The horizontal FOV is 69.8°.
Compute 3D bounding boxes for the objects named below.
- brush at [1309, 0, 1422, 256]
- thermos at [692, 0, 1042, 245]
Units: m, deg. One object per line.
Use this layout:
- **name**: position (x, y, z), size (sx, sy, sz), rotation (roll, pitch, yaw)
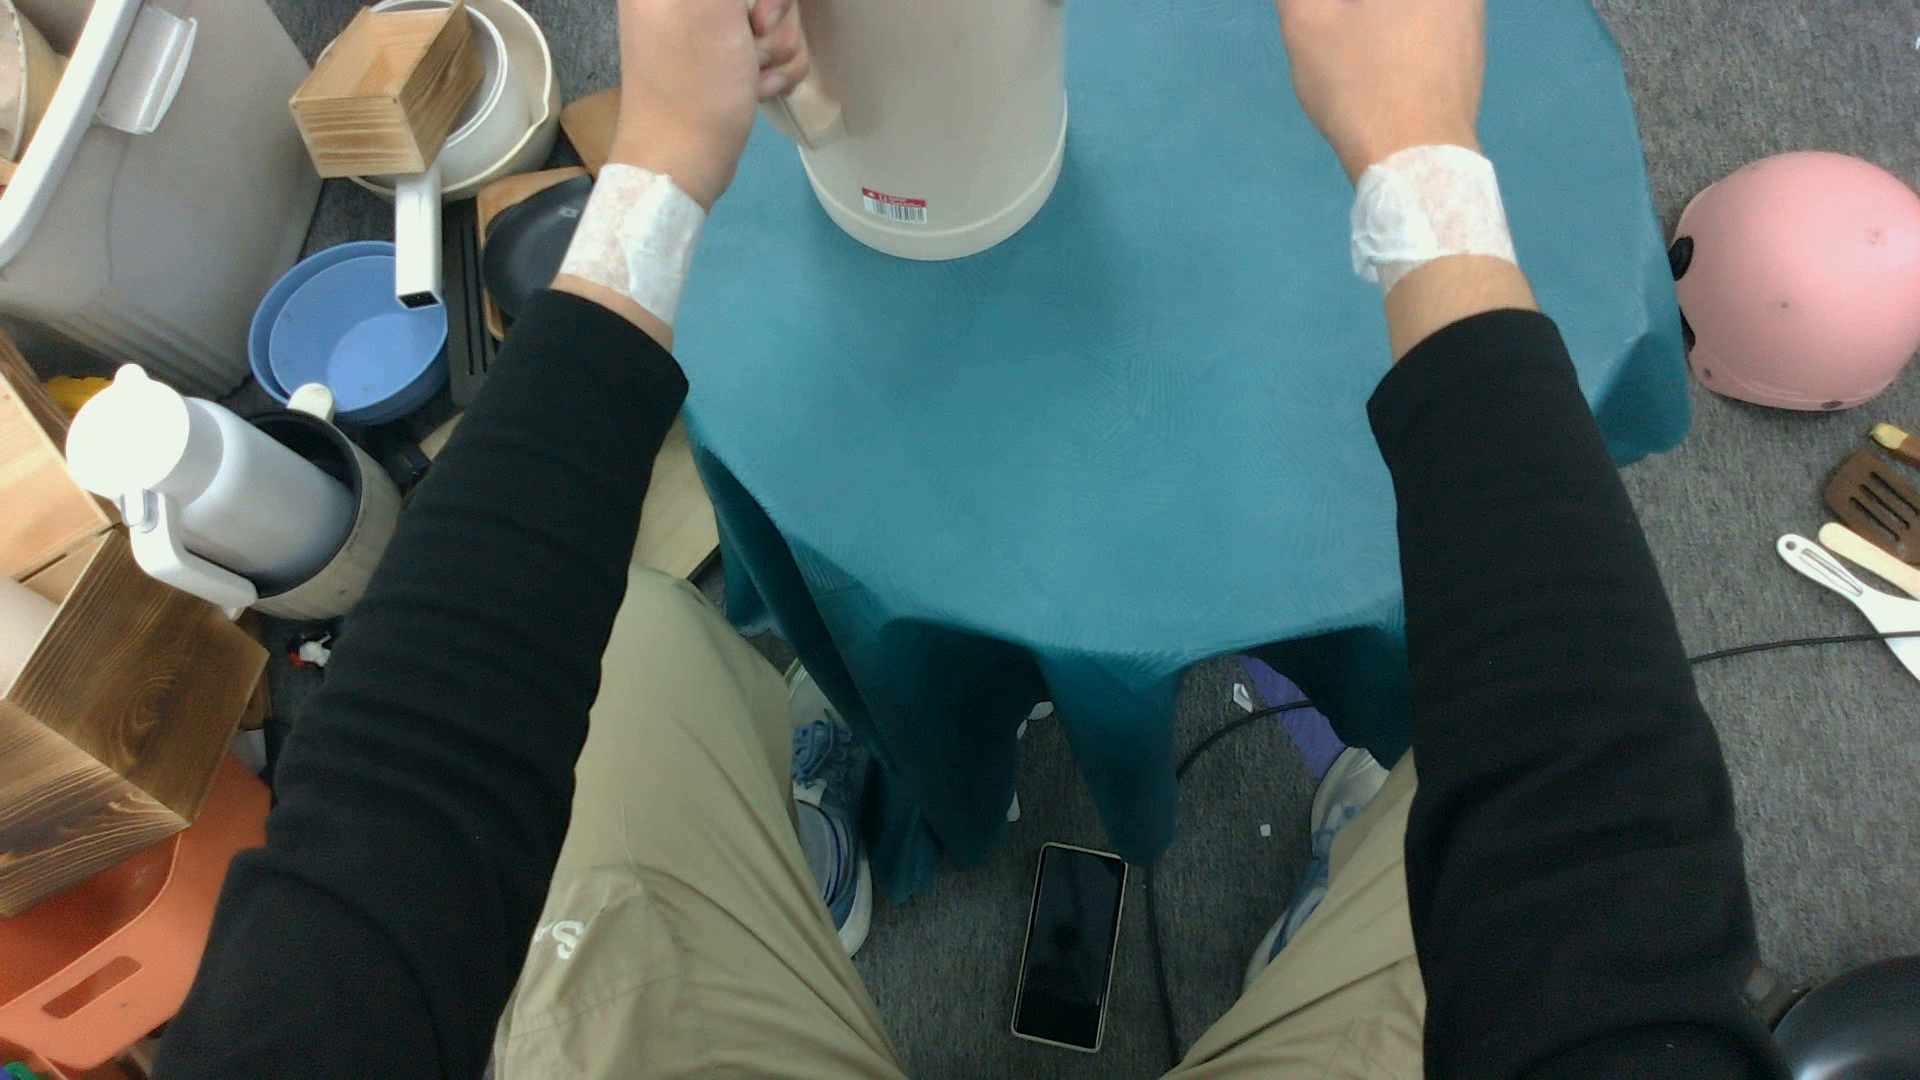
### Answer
- **brush**: position (0.113, -0.262, 0.590), size (0.083, 0.324, 0.085), rotation (-27, 29, 0)
- **thermos**: position (-0.046, -0.291, 0.640), size (0.175, 0.405, 0.207), rotation (33, 78, 10)
